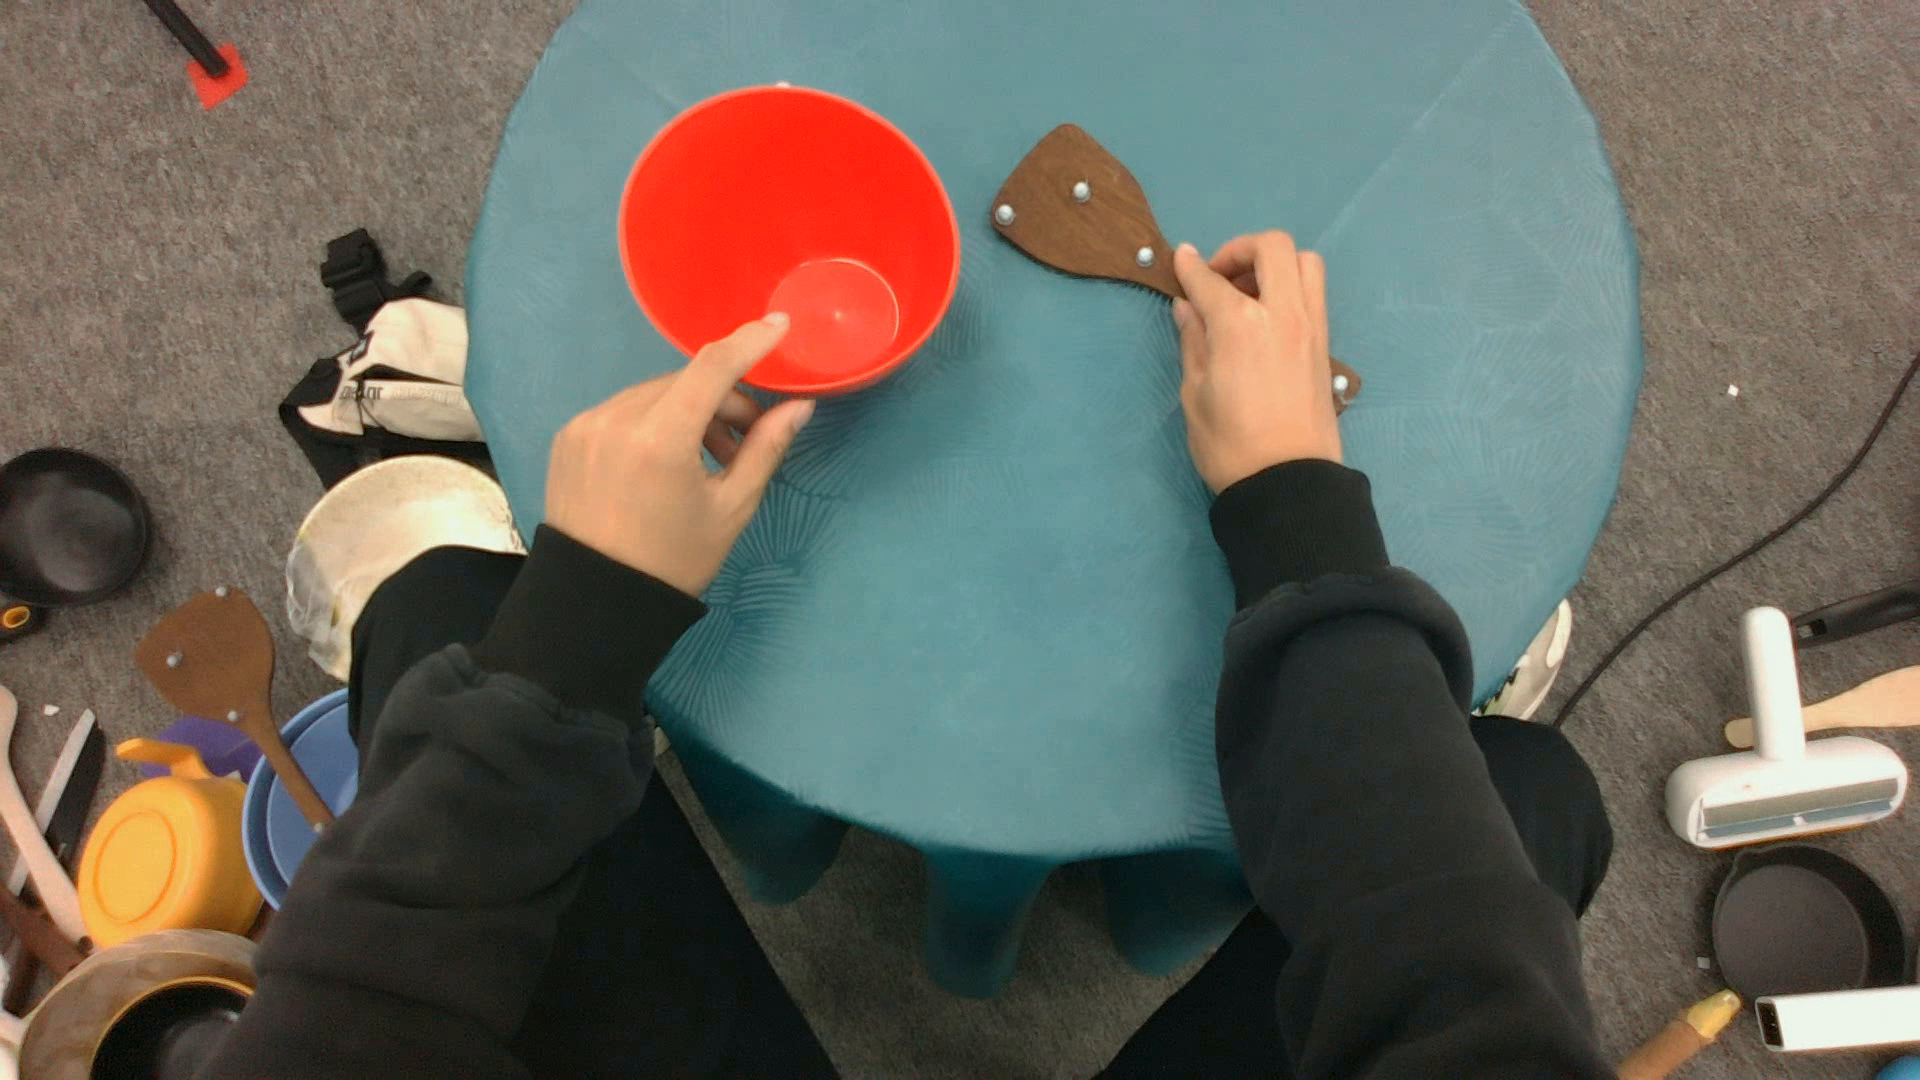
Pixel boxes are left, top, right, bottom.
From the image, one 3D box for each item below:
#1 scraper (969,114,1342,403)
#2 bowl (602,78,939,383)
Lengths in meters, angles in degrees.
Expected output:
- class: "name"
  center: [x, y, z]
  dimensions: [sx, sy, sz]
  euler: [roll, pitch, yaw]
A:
- class: "scraper"
  center: [0.104, -0.138, 0.705]
  dimensions: [0.211, 0.011, 0.076]
  euler: [37, 77, 9]
- class: "bowl"
  center: [-0.084, -0.131, 0.652]
  dimensions: [0.148, 0.104, 0.148]
  euler: [0, 74, -1]
